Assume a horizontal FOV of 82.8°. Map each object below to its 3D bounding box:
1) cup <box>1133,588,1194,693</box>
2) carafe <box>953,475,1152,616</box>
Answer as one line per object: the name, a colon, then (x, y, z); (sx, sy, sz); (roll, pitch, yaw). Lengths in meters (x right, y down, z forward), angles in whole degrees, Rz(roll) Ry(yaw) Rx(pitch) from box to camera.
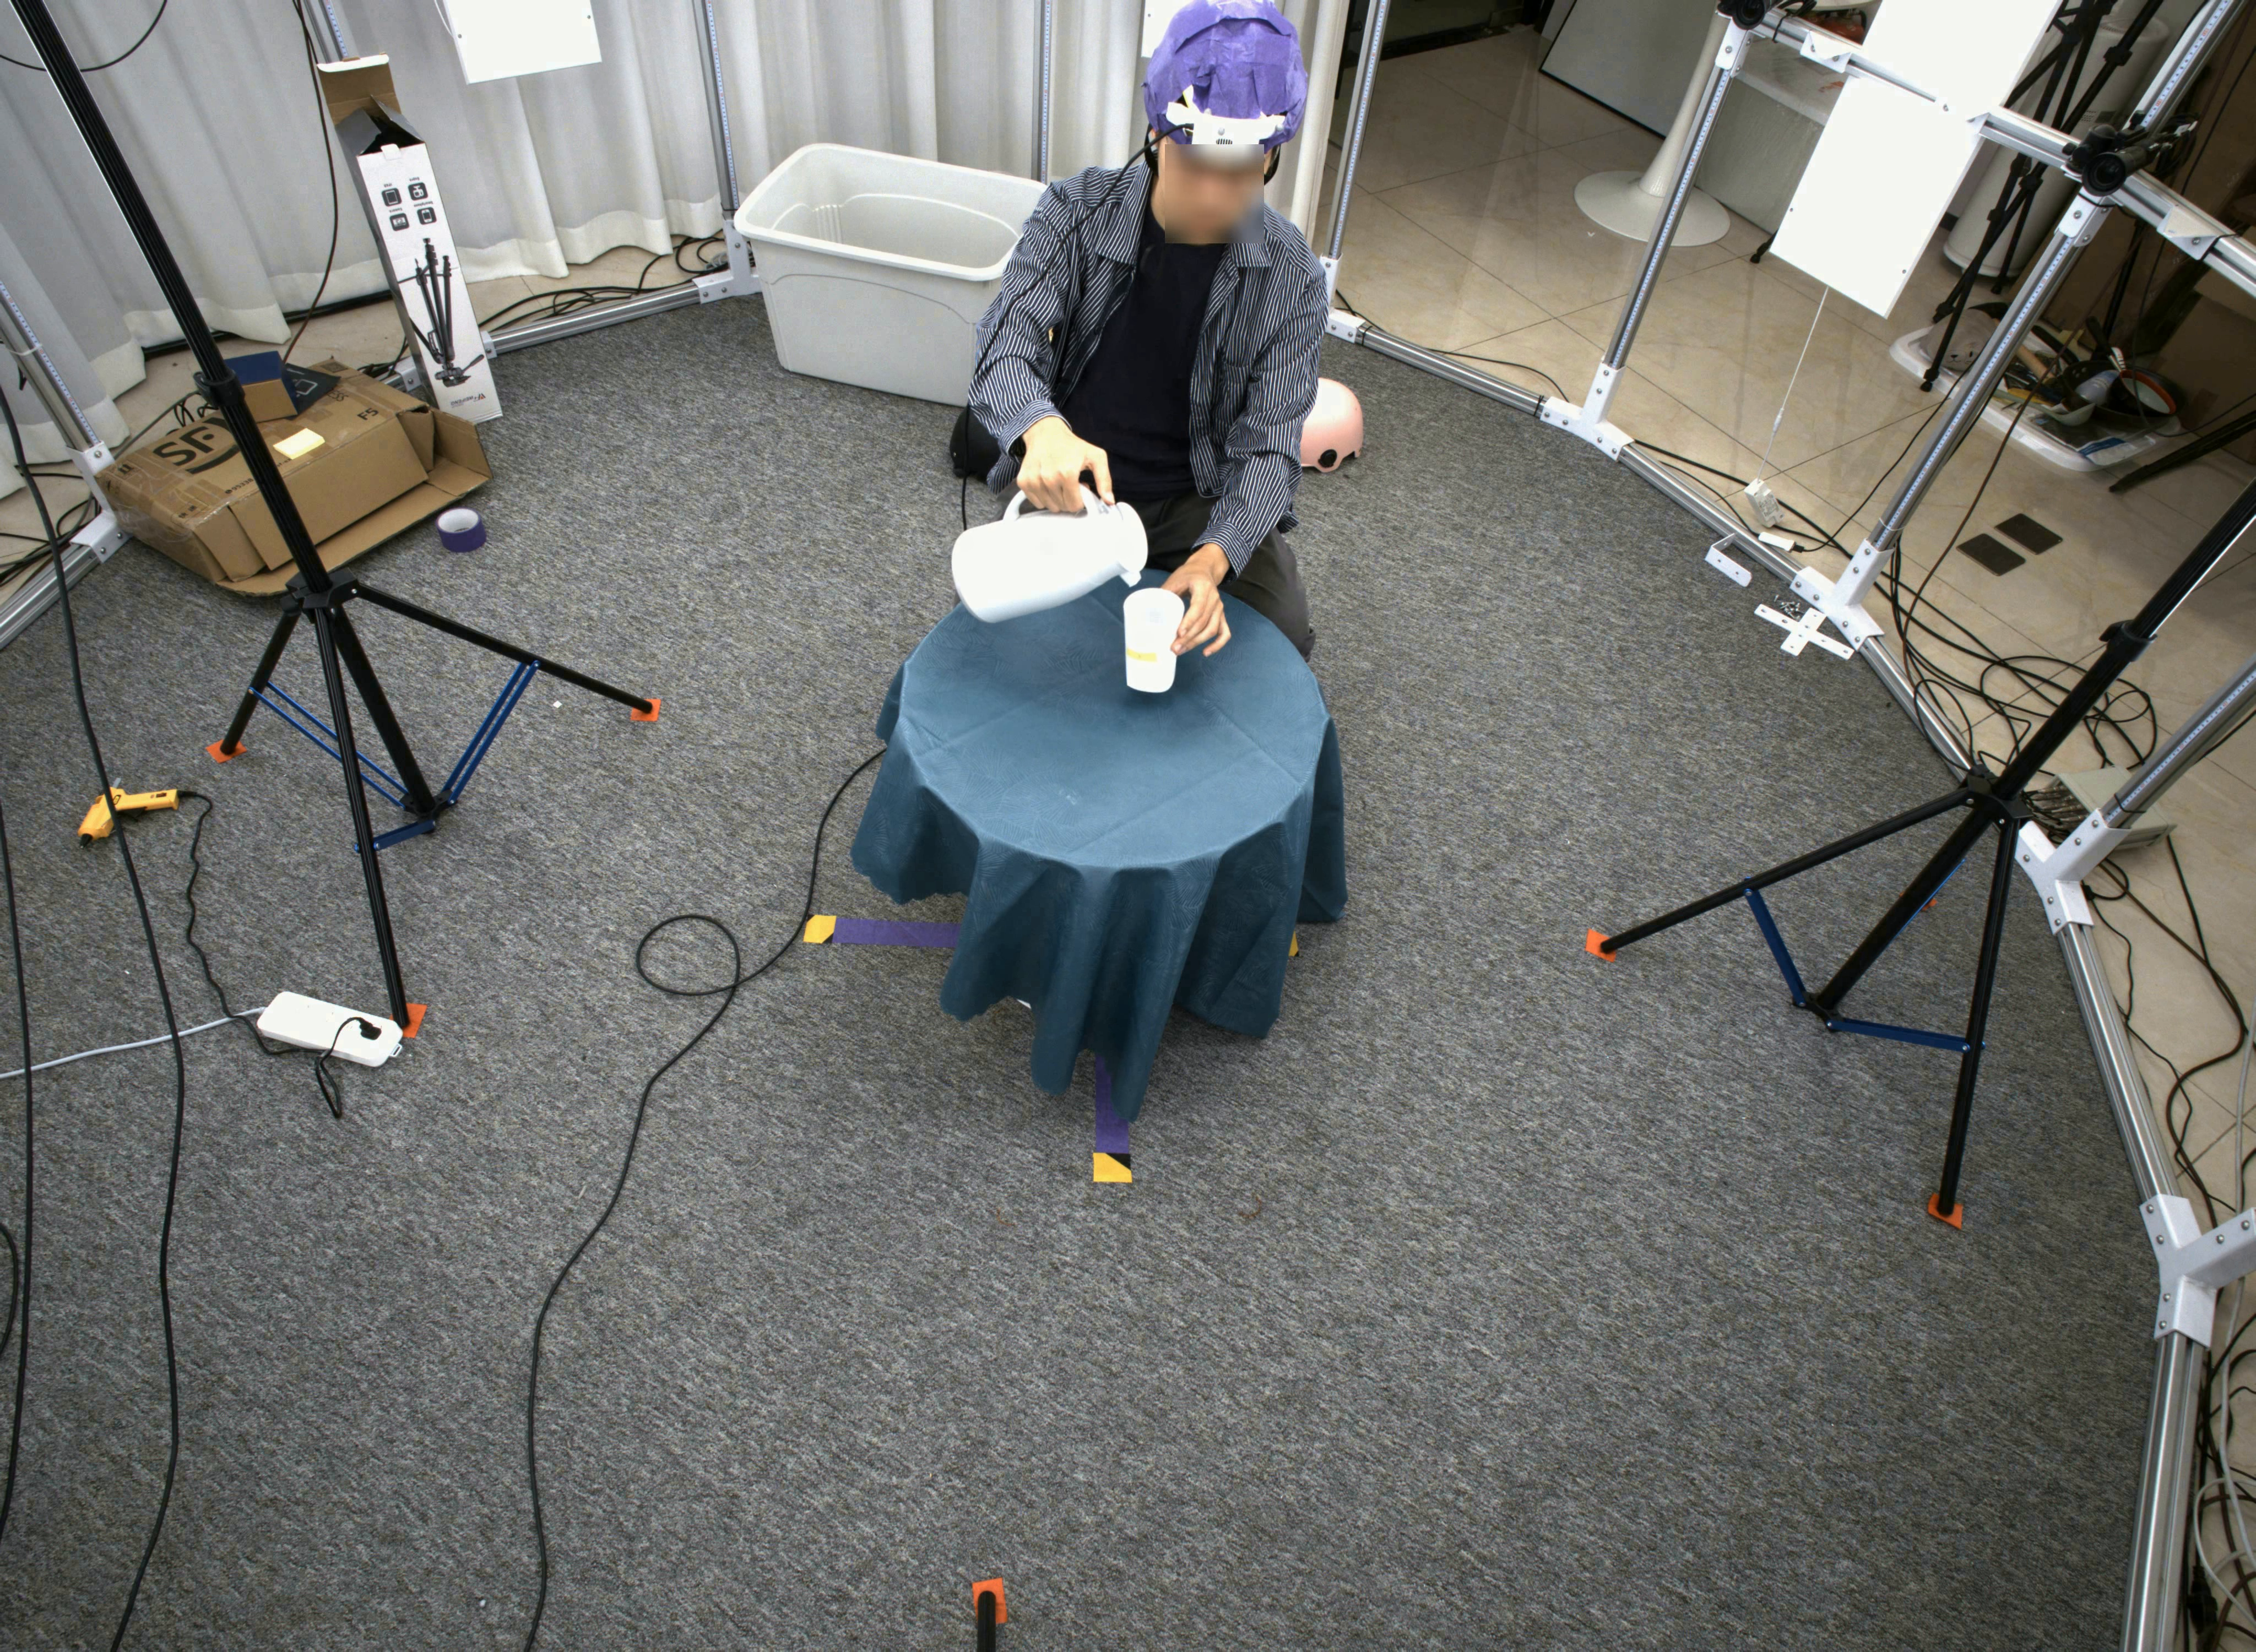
cup: (0.046, -0.250, 1.750); (0.081, 0.122, 0.084); (1, 47, -1)
carafe: (-0.100, -0.373, 1.687); (0.249, 0.164, 0.135); (-5, 39, 31)
